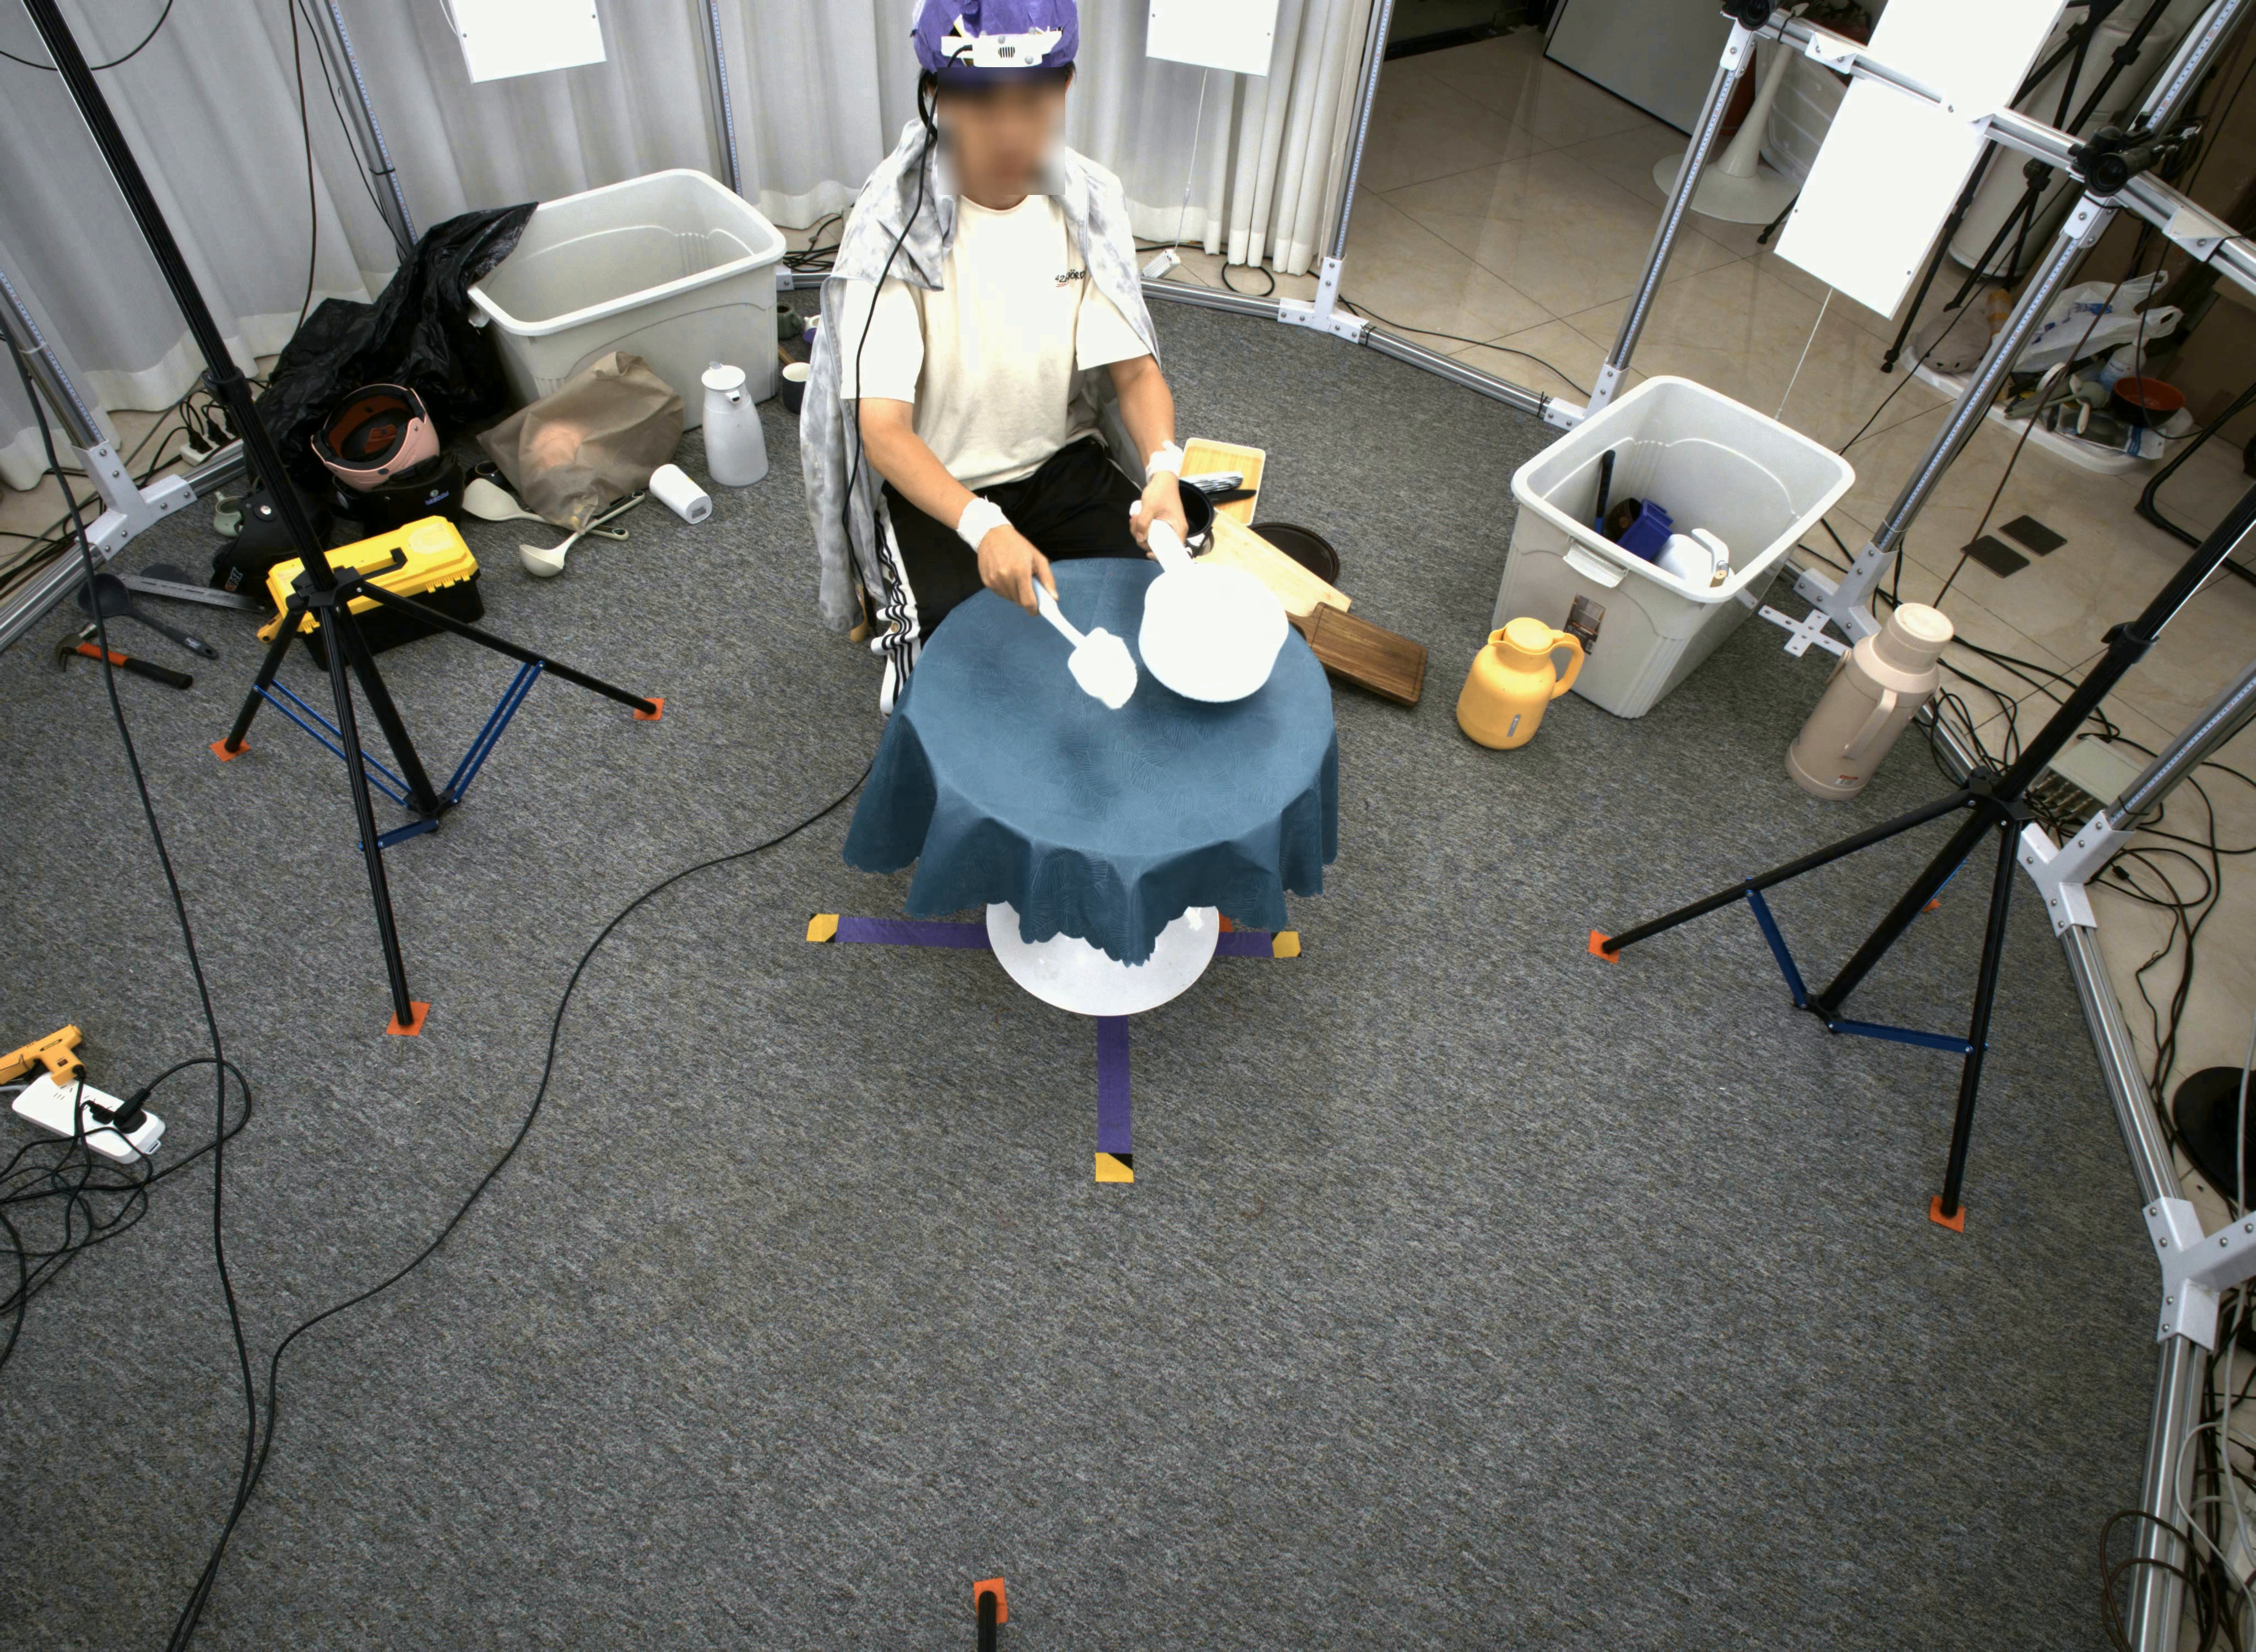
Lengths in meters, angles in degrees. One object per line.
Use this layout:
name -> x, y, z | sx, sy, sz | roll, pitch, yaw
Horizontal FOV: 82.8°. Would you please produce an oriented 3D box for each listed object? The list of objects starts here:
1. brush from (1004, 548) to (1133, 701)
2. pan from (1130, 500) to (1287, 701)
brush -> -0.073, -0.279, 1.757 | 0.083, 0.082, 0.333 | -24, 50, -12
pan -> 0.083, -0.323, 1.844 | 0.201, 0.100, 0.363 | -12, 52, -22
